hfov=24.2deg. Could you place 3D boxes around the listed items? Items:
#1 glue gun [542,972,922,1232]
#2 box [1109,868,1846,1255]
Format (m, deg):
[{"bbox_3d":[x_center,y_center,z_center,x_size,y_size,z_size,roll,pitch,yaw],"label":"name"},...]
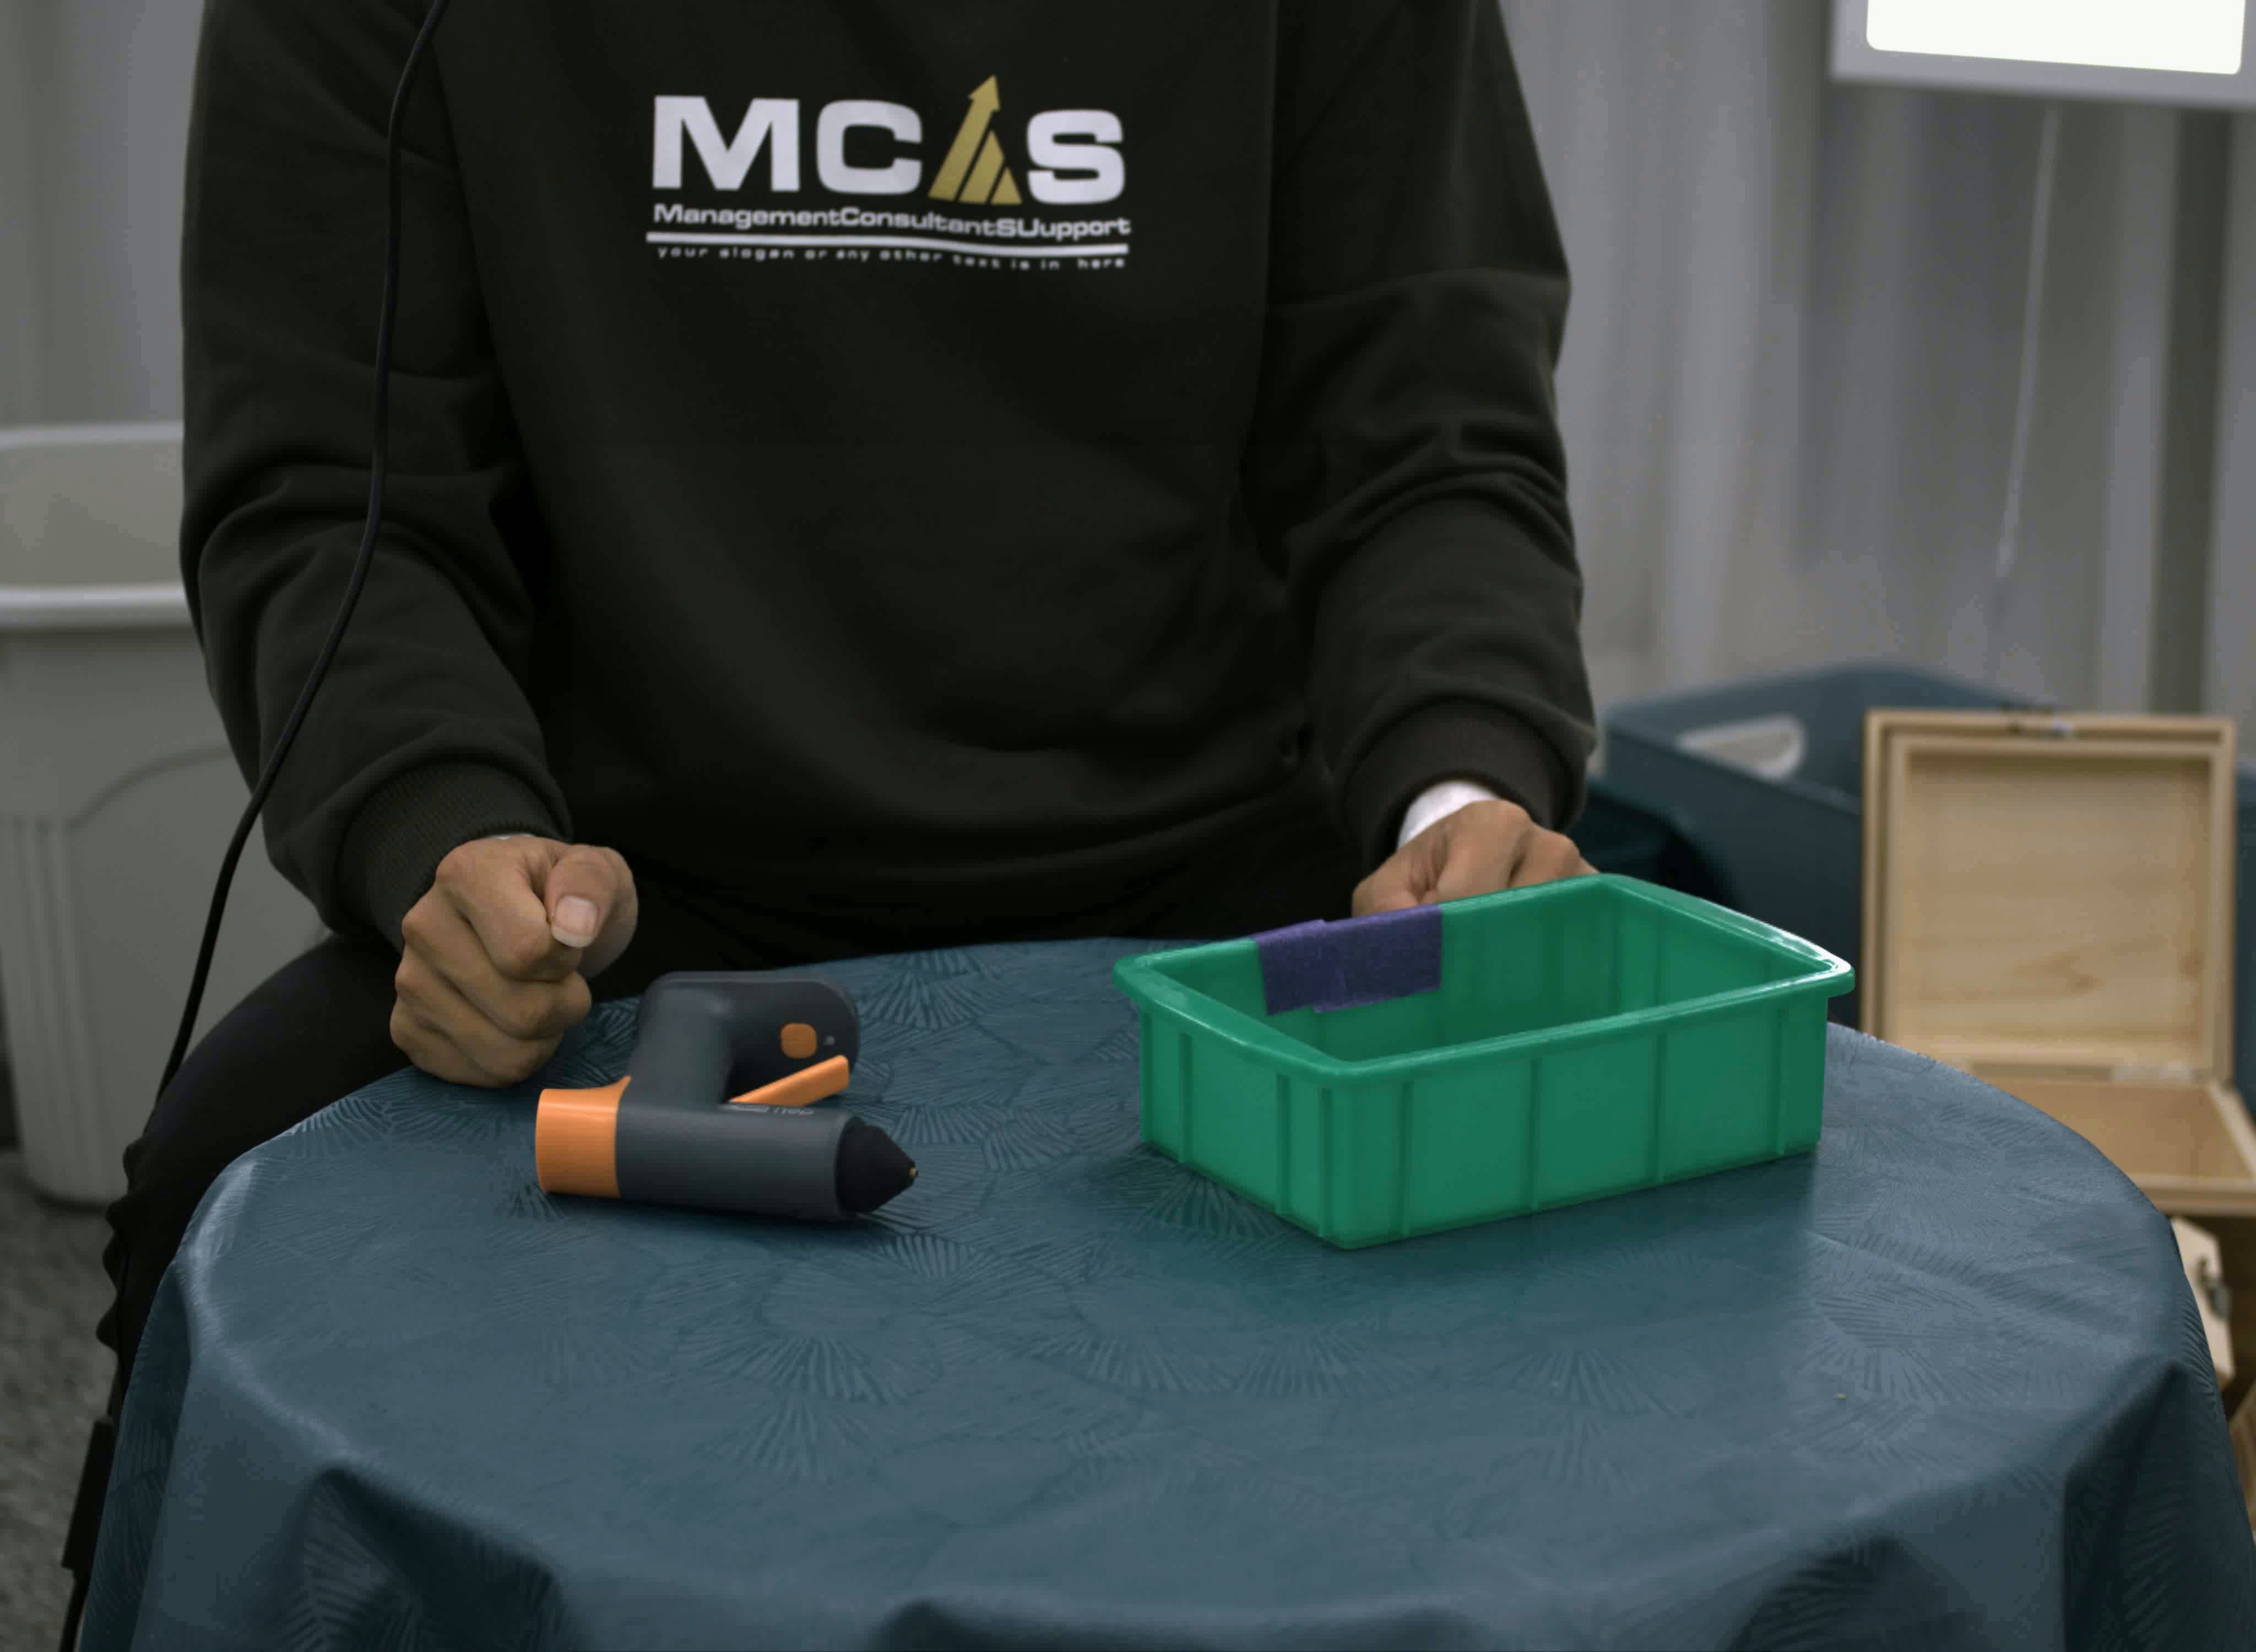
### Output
[{"bbox_3d":[-0.120,0.089,1.649,0.117,0.041,0.139,3,18,0],"label":"glue gun"},{"bbox_3d":[0.110,0.073,1.660,0.211,0.066,0.137,-11,19,-31],"label":"box"}]
